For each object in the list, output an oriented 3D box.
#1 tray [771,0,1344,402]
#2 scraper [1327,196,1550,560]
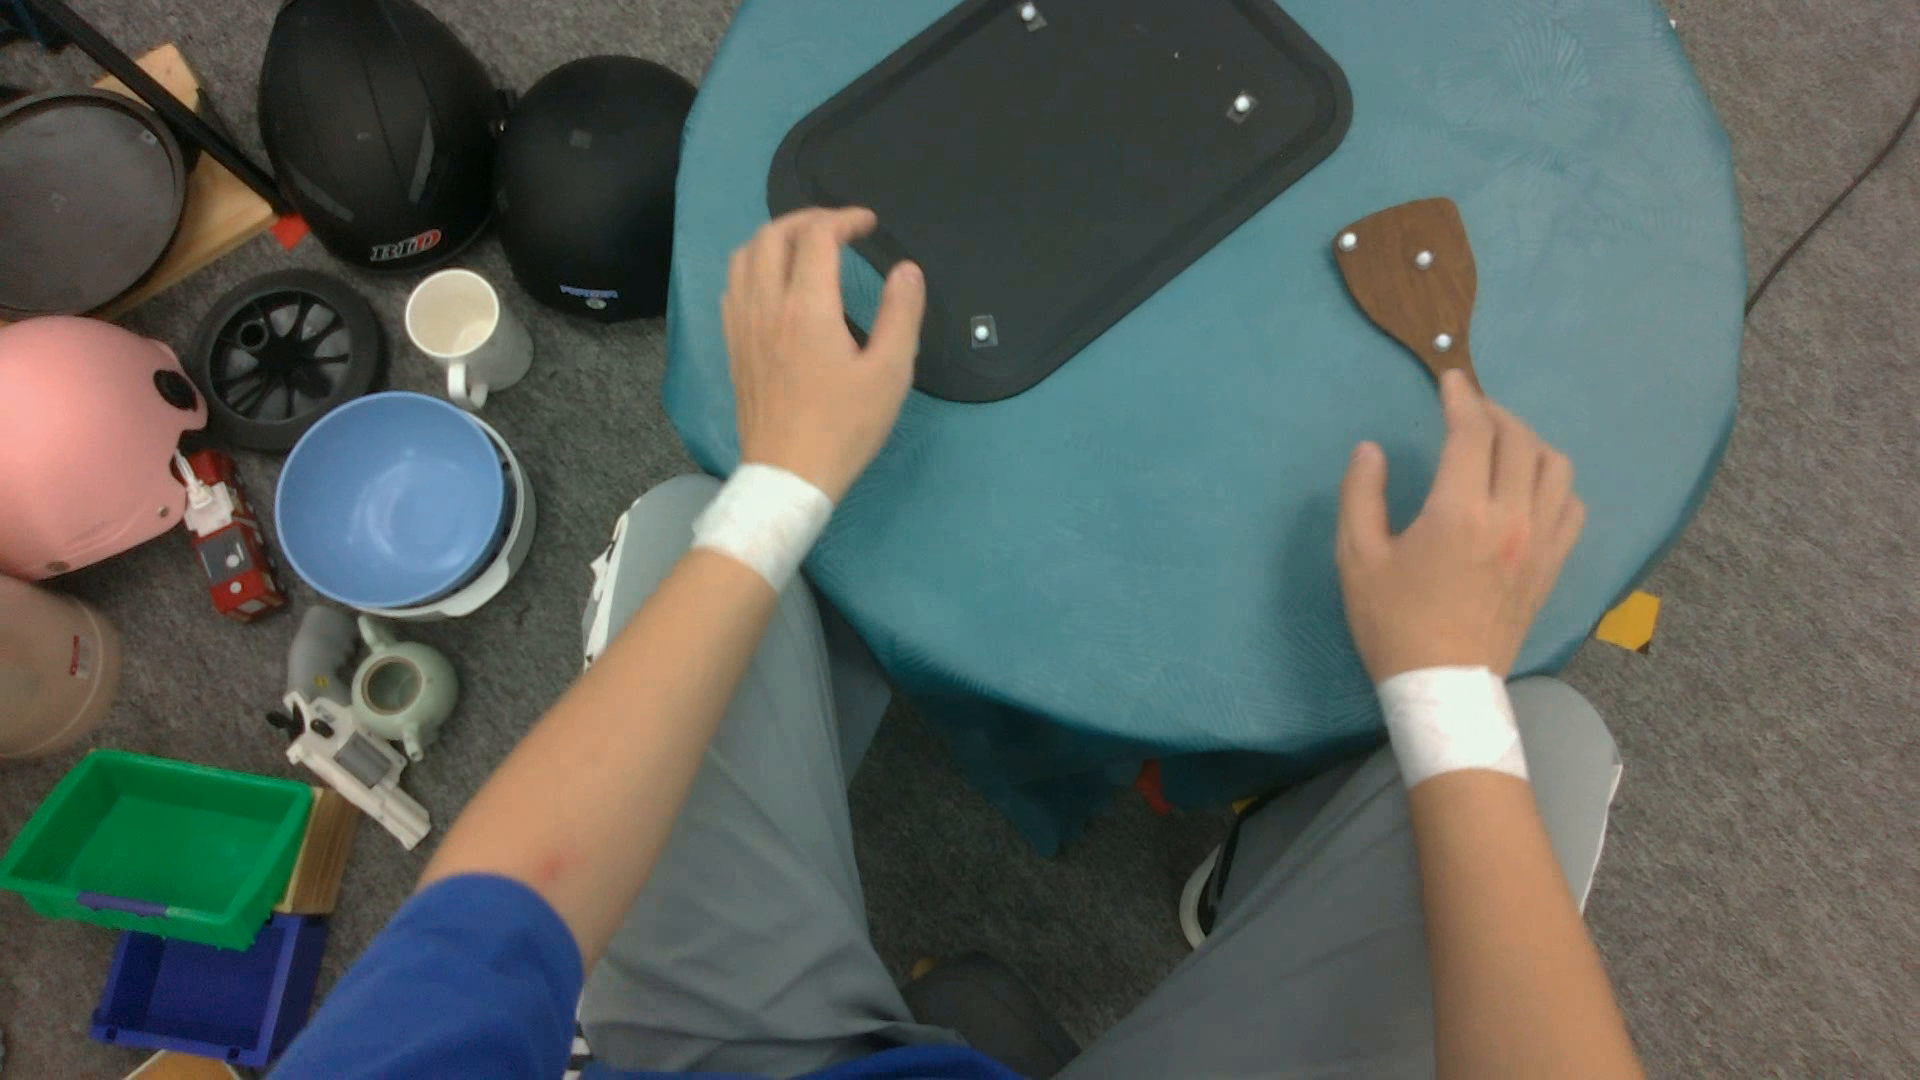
[{"bbox_3d":[0.051,-0.225,0.794,0.326,0.010,0.211,-39,78,-8],"label":"tray"},{"bbox_3d":[0.270,-0.089,0.754,0.076,0.011,0.211,-18,77,-3],"label":"scraper"}]
